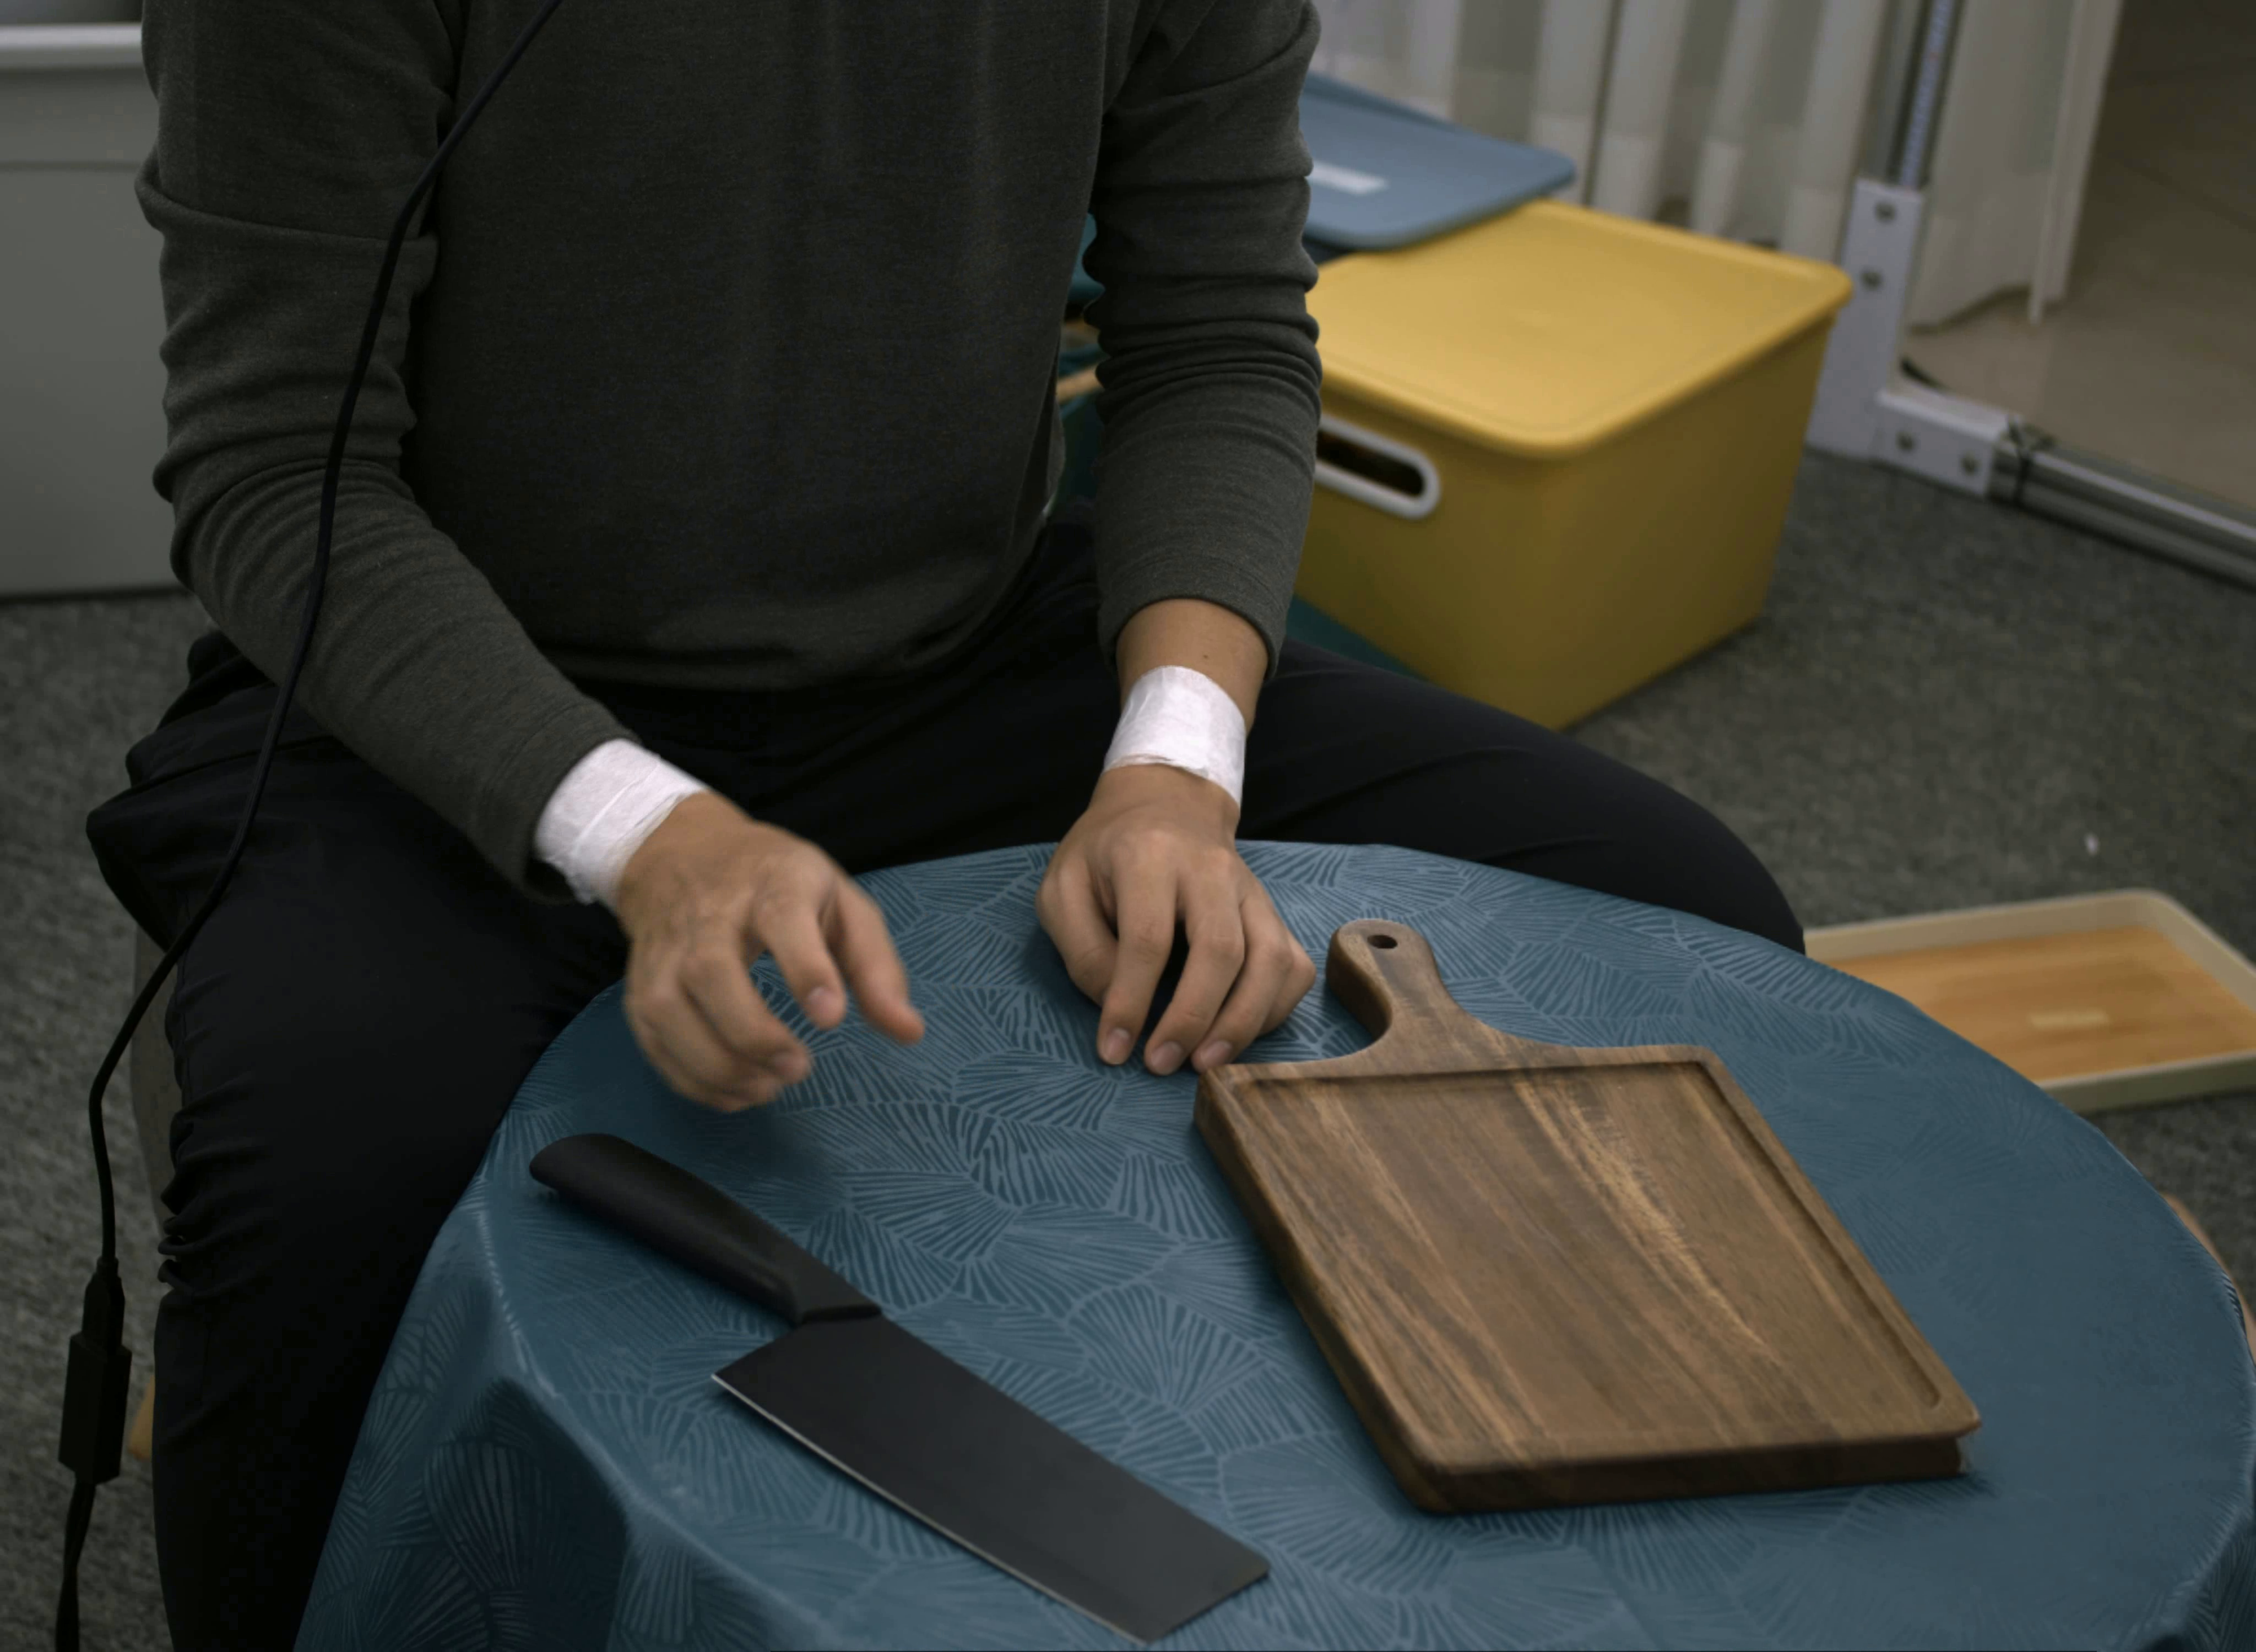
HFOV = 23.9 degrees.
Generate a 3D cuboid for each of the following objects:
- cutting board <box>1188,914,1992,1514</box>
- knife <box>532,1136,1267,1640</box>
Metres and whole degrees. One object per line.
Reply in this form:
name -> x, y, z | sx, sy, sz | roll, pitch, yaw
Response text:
cutting board -> 0.135, 0.122, 1.816 | 0.200, 0.023, 0.355 | -2, 28, -17
knife -> -0.084, 0.173, 1.674 | 0.080, 0.021, 0.305 | -20, 38, -40
